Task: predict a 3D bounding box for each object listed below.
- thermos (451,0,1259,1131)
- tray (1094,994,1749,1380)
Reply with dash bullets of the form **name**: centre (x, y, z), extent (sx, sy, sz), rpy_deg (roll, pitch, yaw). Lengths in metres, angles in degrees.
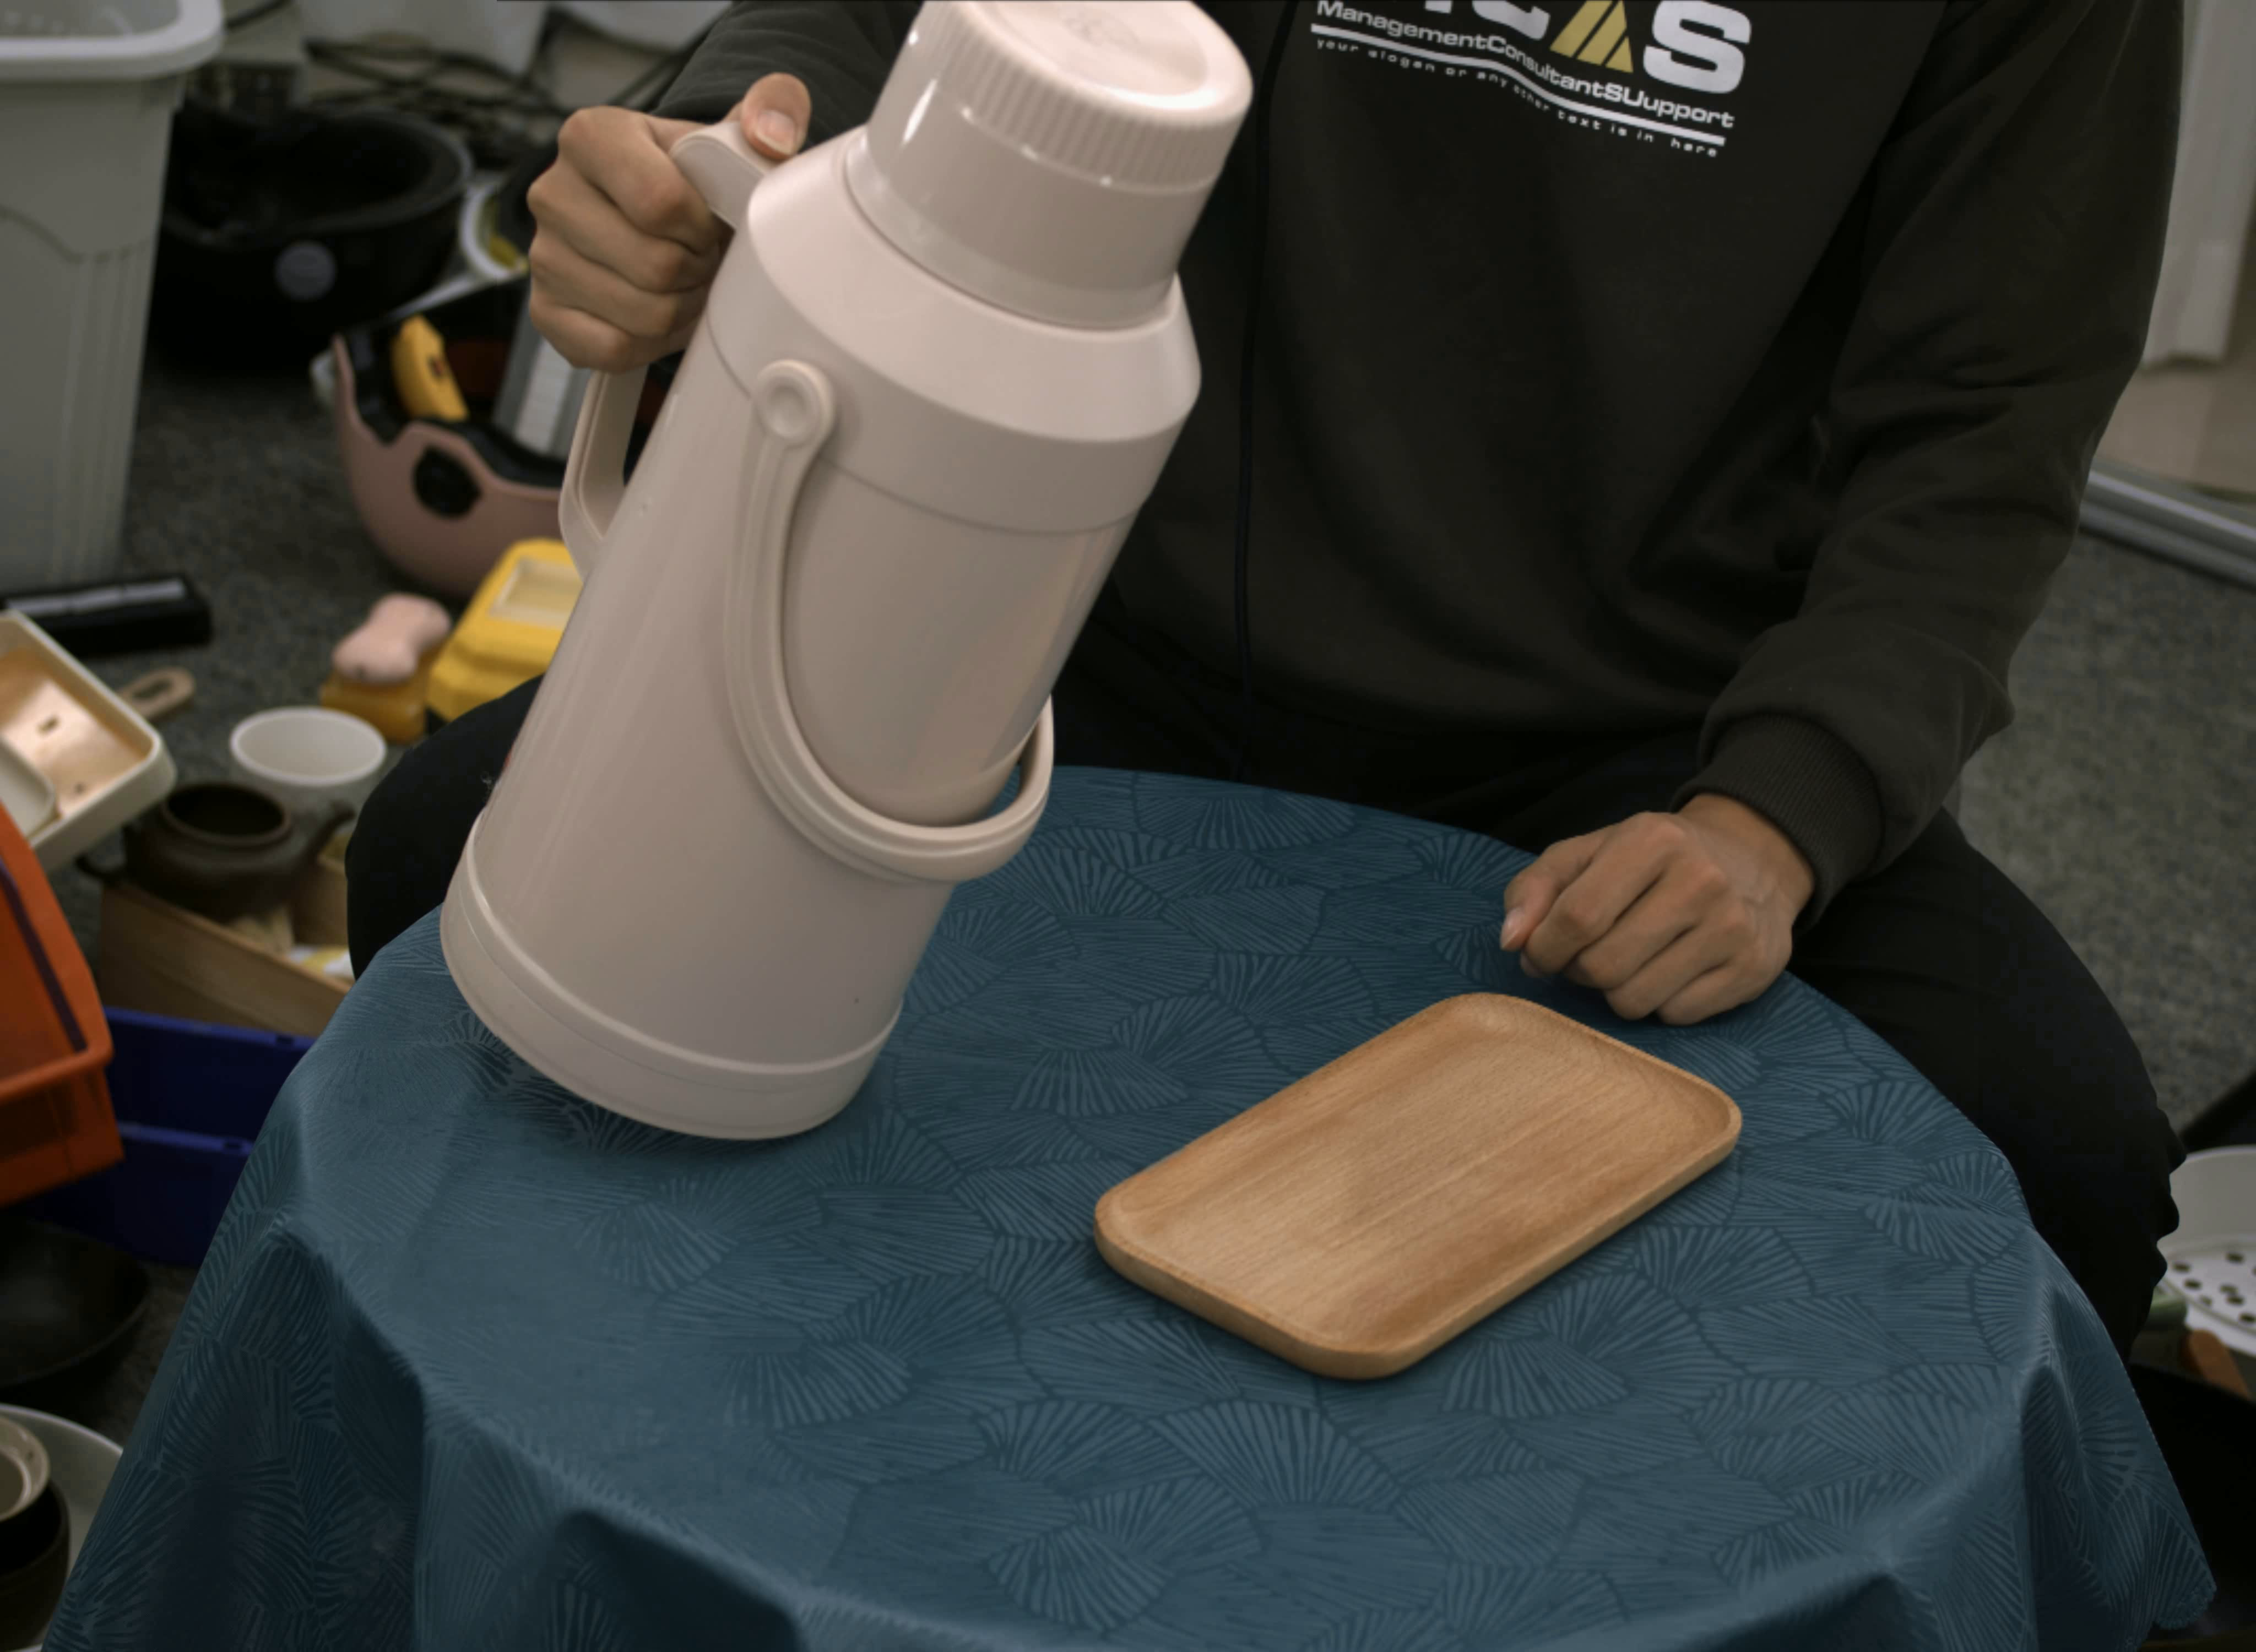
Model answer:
- **thermos**: centre (-0.094, -0.106, 1.752), extent (0.208, 0.405, 0.175), rpy_deg (38, 34, 18)
- **tray**: centre (0.103, 0.121, 1.819), extent (0.131, 0.023, 0.249), rpy_deg (27, 32, 30)
